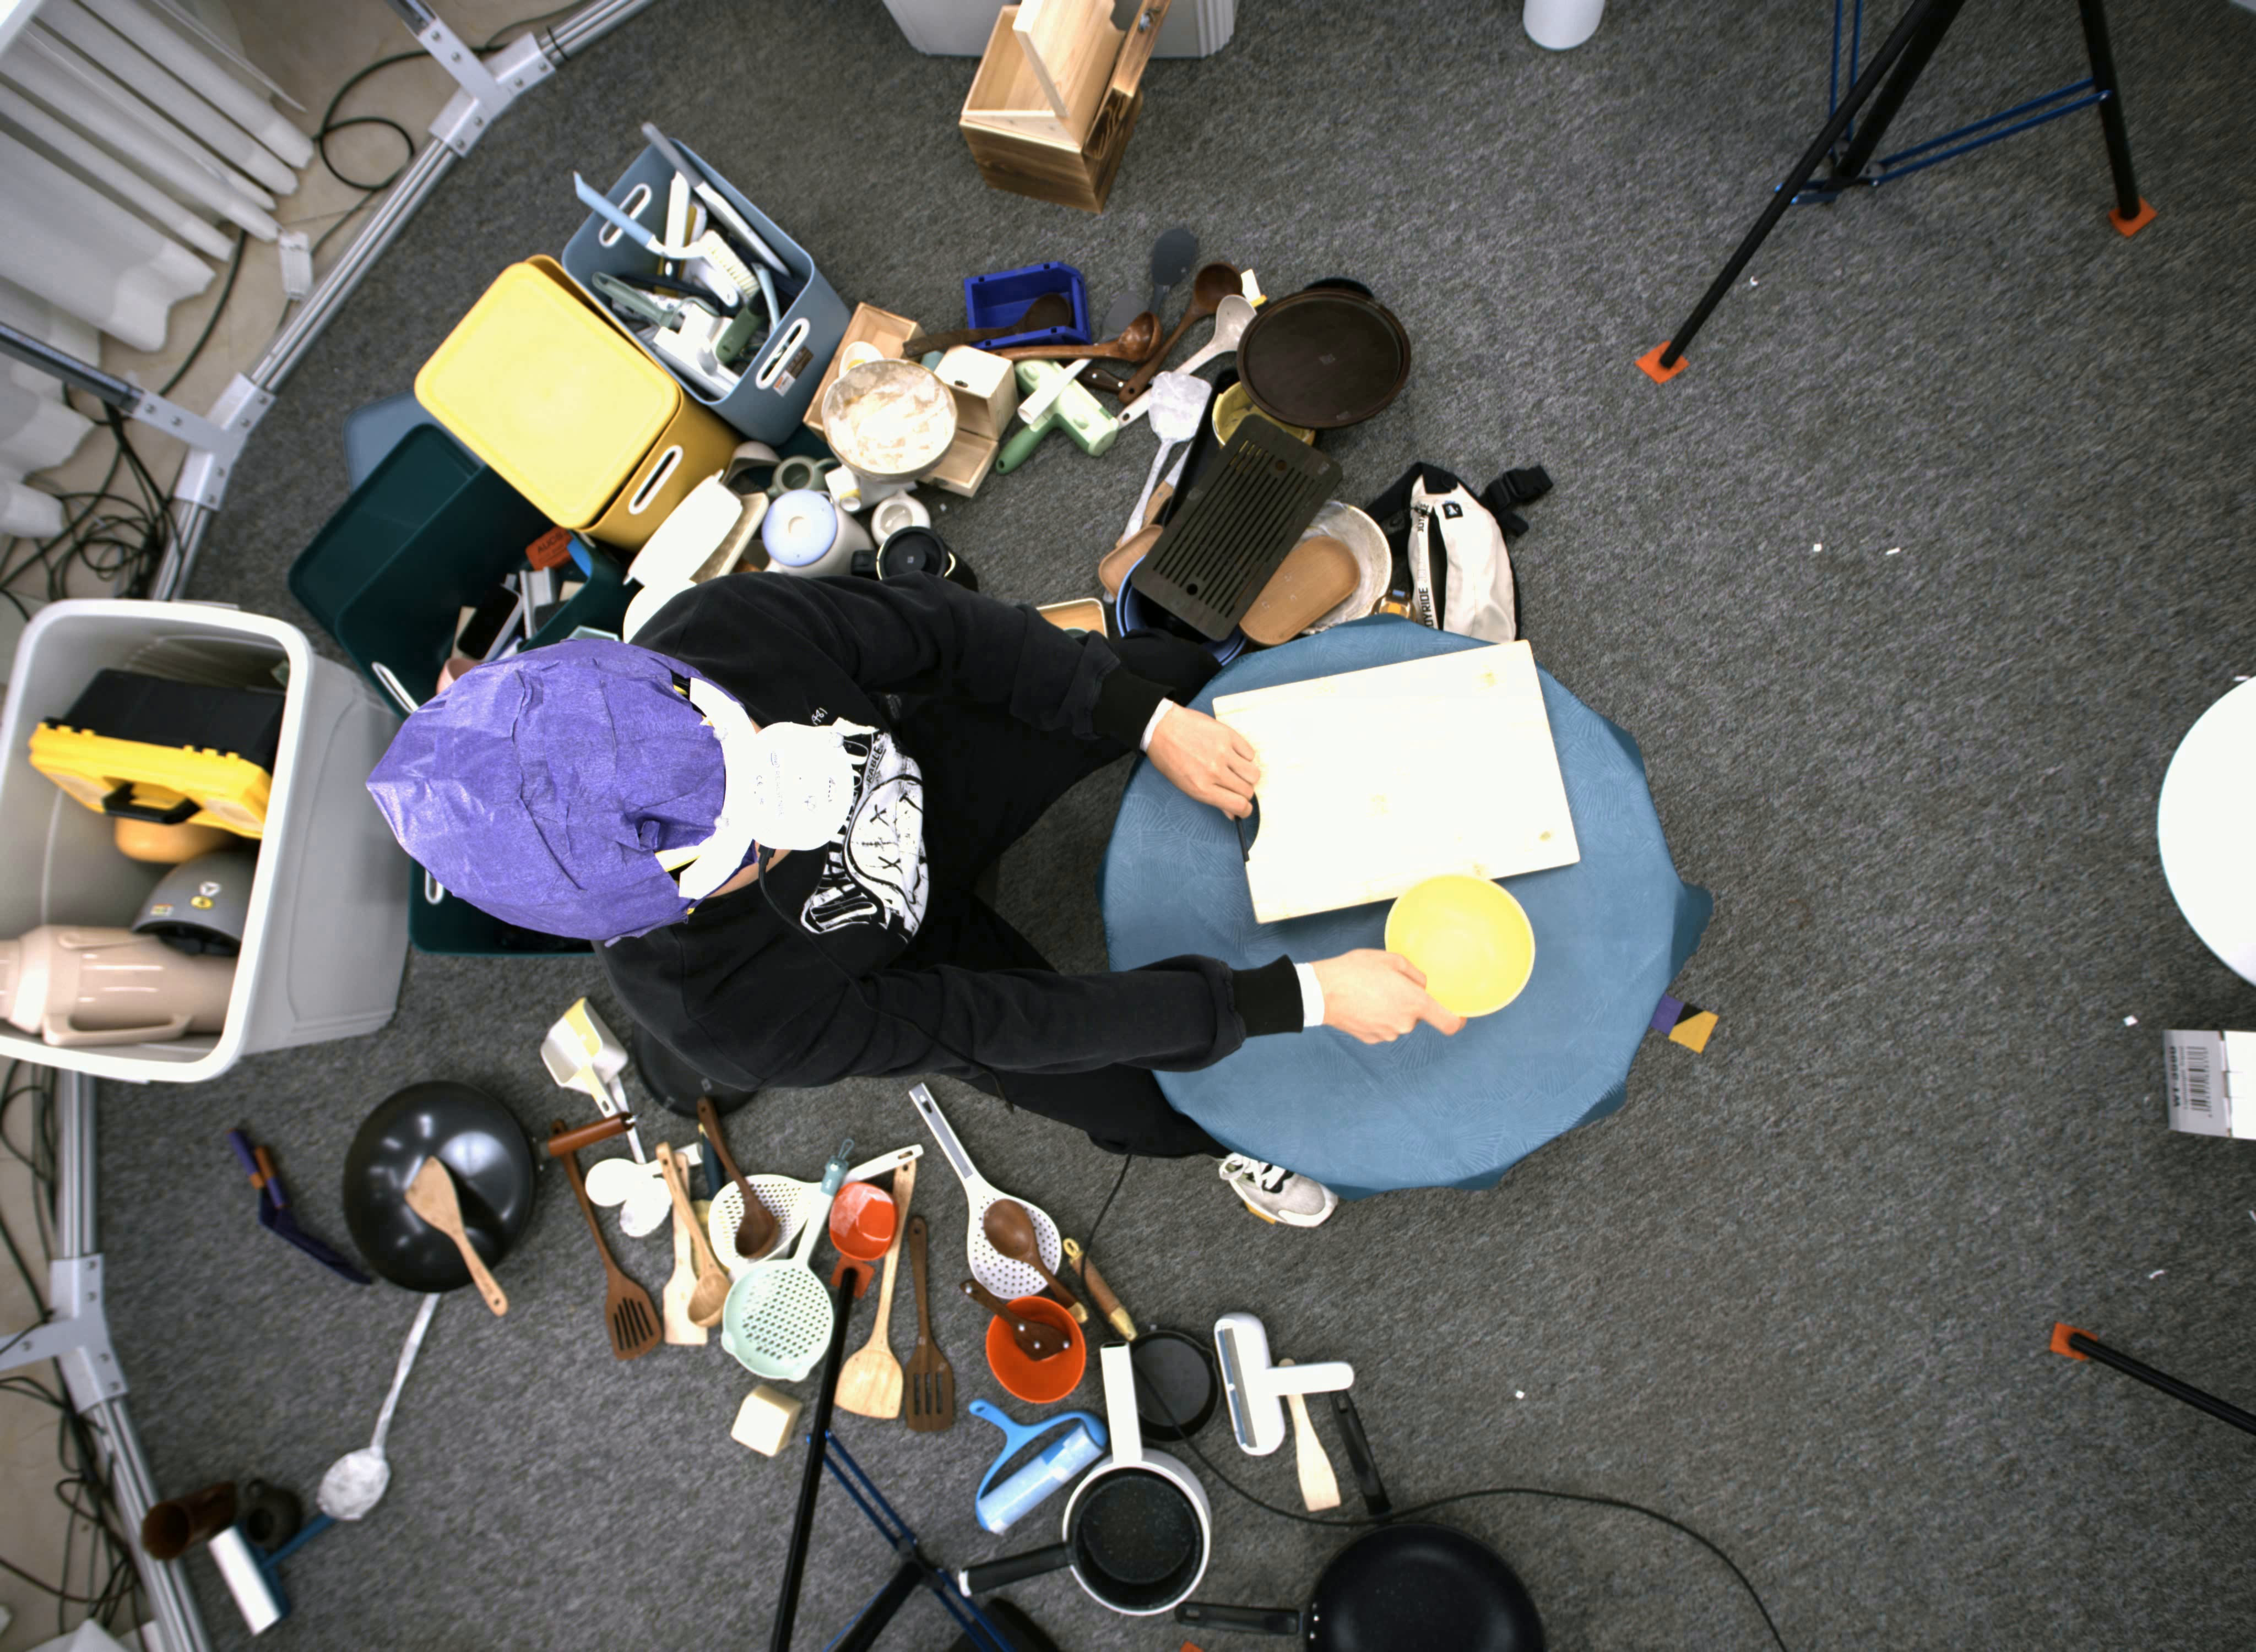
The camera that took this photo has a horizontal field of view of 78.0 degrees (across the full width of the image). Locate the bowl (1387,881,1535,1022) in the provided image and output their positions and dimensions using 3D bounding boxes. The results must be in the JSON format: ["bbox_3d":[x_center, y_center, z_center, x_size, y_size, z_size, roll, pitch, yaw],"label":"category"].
[{"bbox_3d":[0.322,0.129,1.356,0.145,0.061,0.142,0,68,1],"label":"bowl"}]

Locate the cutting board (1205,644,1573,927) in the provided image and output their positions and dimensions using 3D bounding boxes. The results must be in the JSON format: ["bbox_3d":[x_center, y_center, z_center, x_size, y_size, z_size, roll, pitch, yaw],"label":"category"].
[{"bbox_3d":[0.273,-0.045,1.437,0.349,0.024,0.249,-12,84,0],"label":"cutting board"}]
